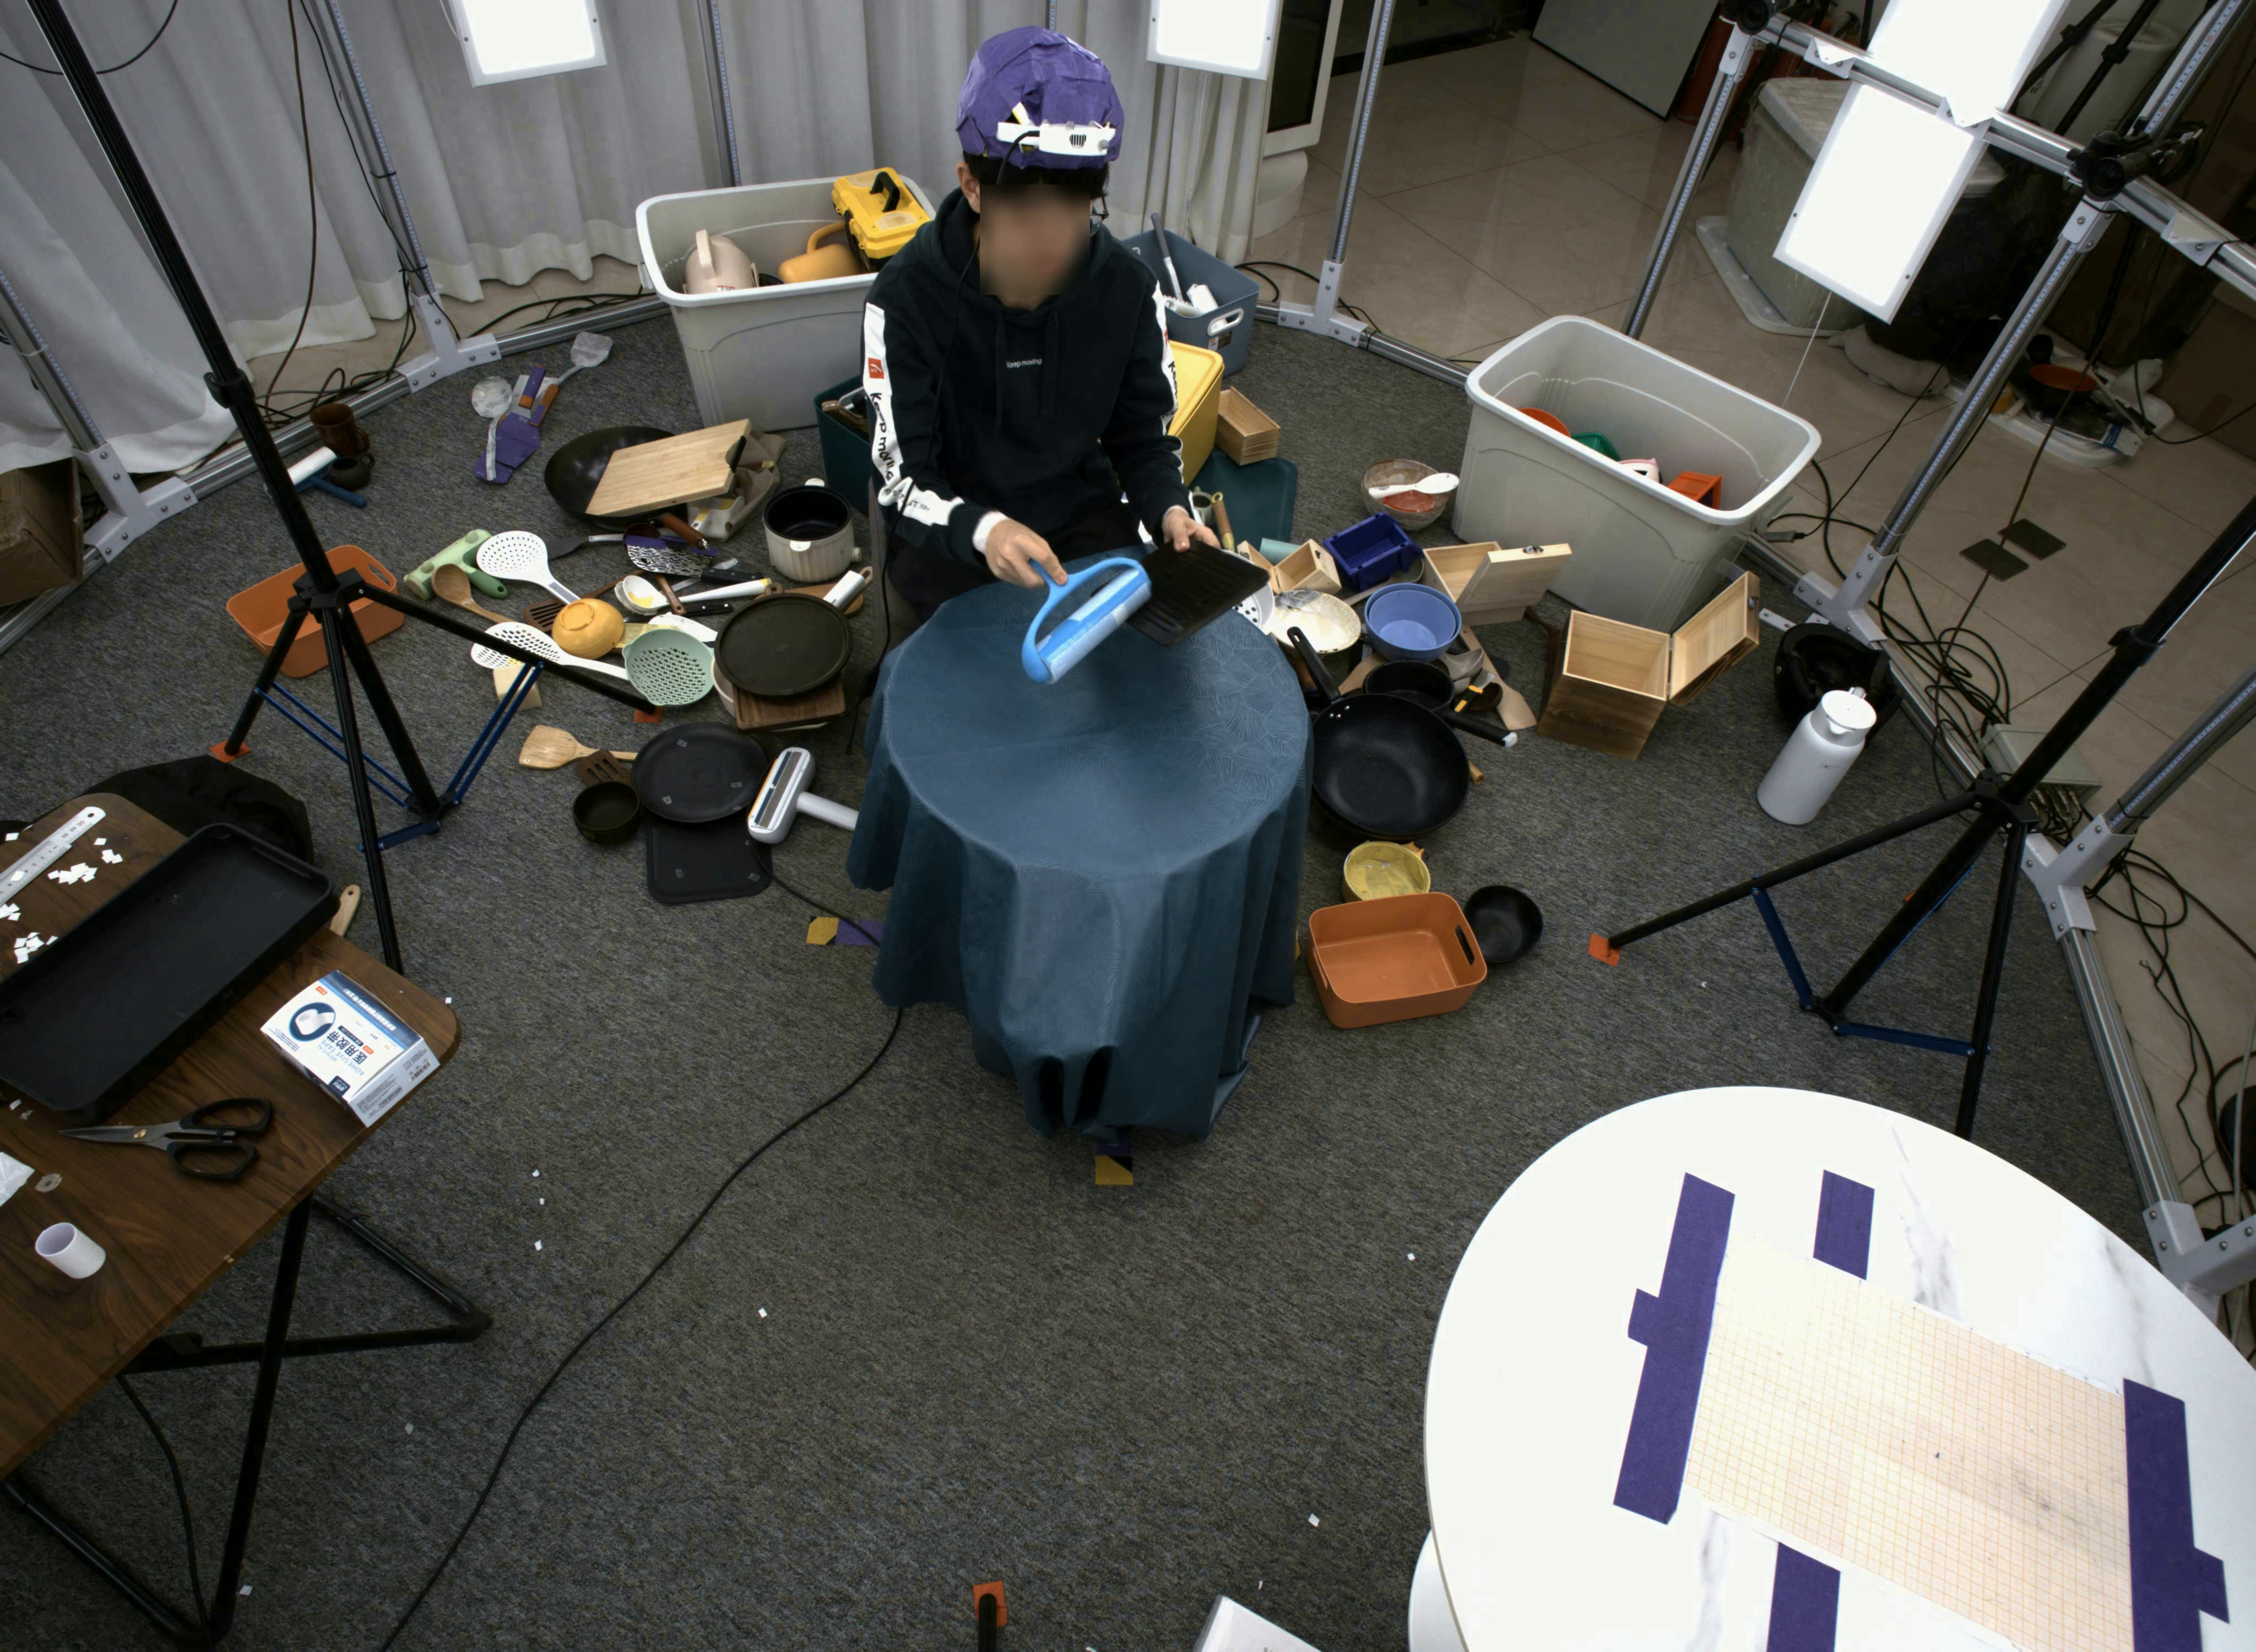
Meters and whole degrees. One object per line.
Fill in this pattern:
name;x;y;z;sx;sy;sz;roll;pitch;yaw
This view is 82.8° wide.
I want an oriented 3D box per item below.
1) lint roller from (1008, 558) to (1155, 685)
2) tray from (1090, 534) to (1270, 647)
lint roller;-0.093;-0.307;1.722;0.181;0.067;0.231;41;70;10
tray;0.065;-0.328;1.772;0.170;0.018;0.311;-34;29;-6
